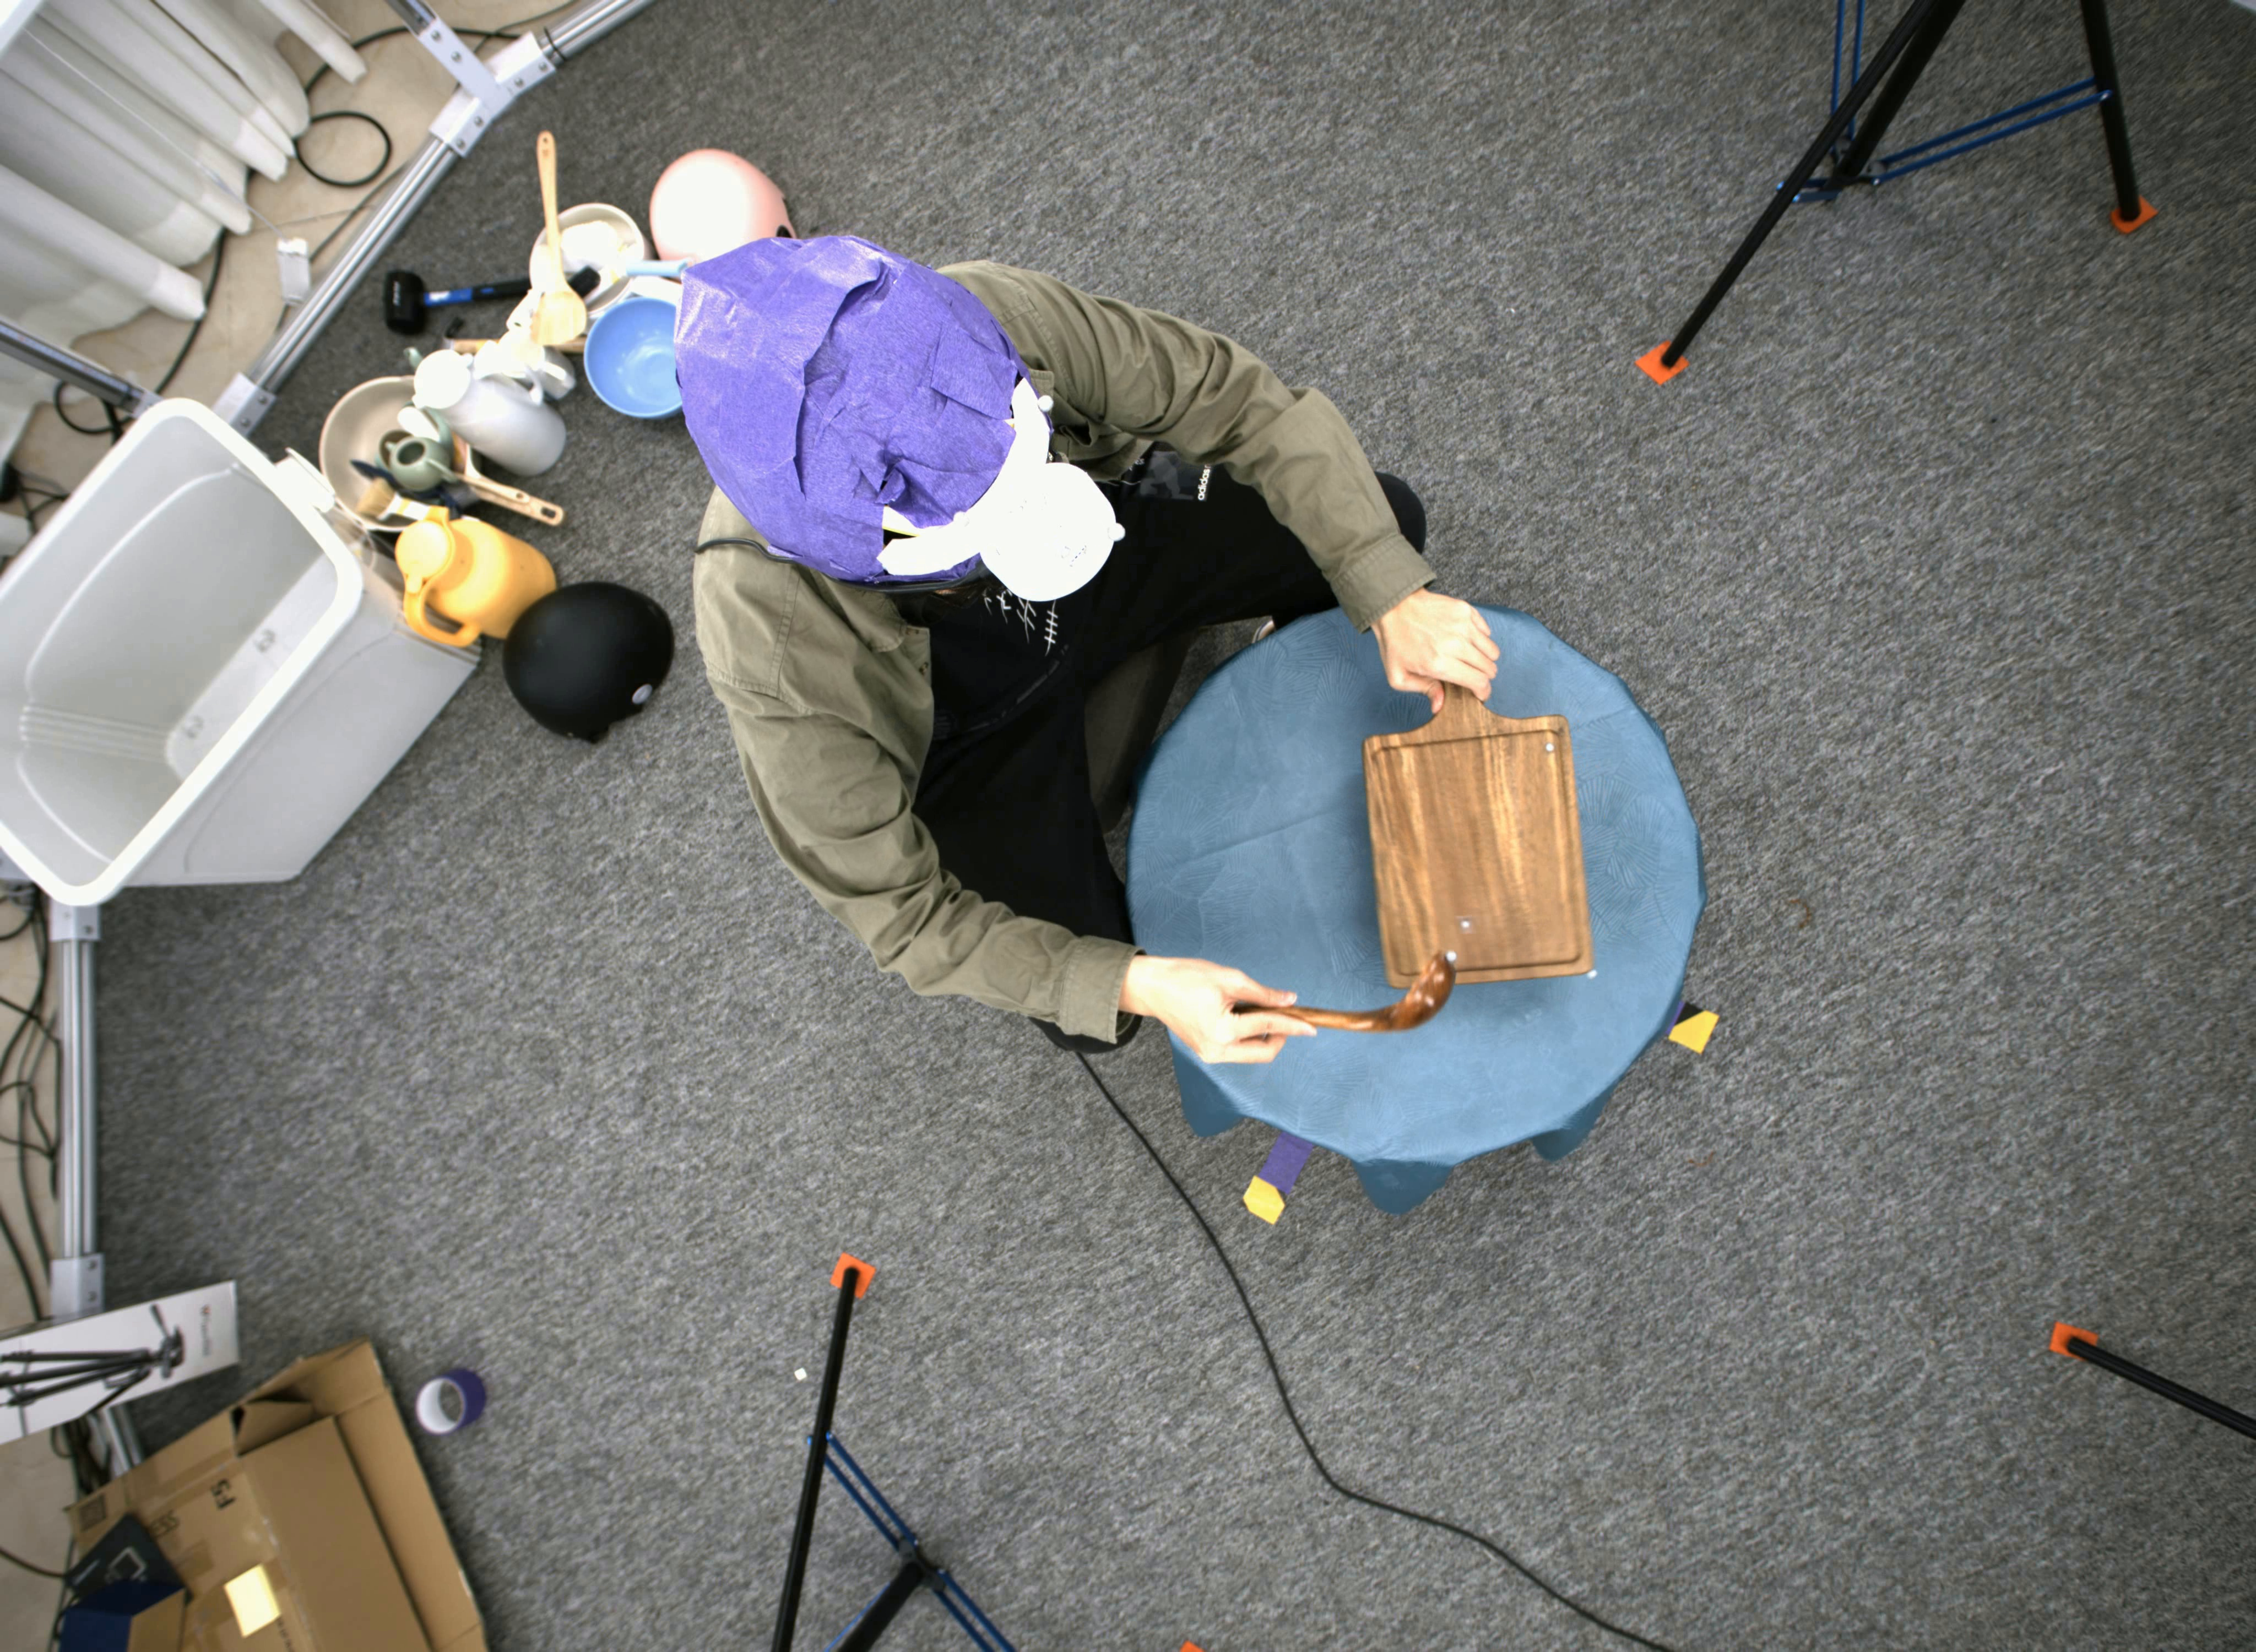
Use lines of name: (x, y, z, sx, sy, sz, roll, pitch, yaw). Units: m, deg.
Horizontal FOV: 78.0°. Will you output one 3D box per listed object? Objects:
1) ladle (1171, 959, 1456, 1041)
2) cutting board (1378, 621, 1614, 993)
ladle: (0.163, 0.153, 1.266, 0.276, 0.081, 0.077, 0, 95, 27)
cutting board: (0.348, -0.023, 1.319, 0.202, 0.023, 0.353, -6, 95, 12)
